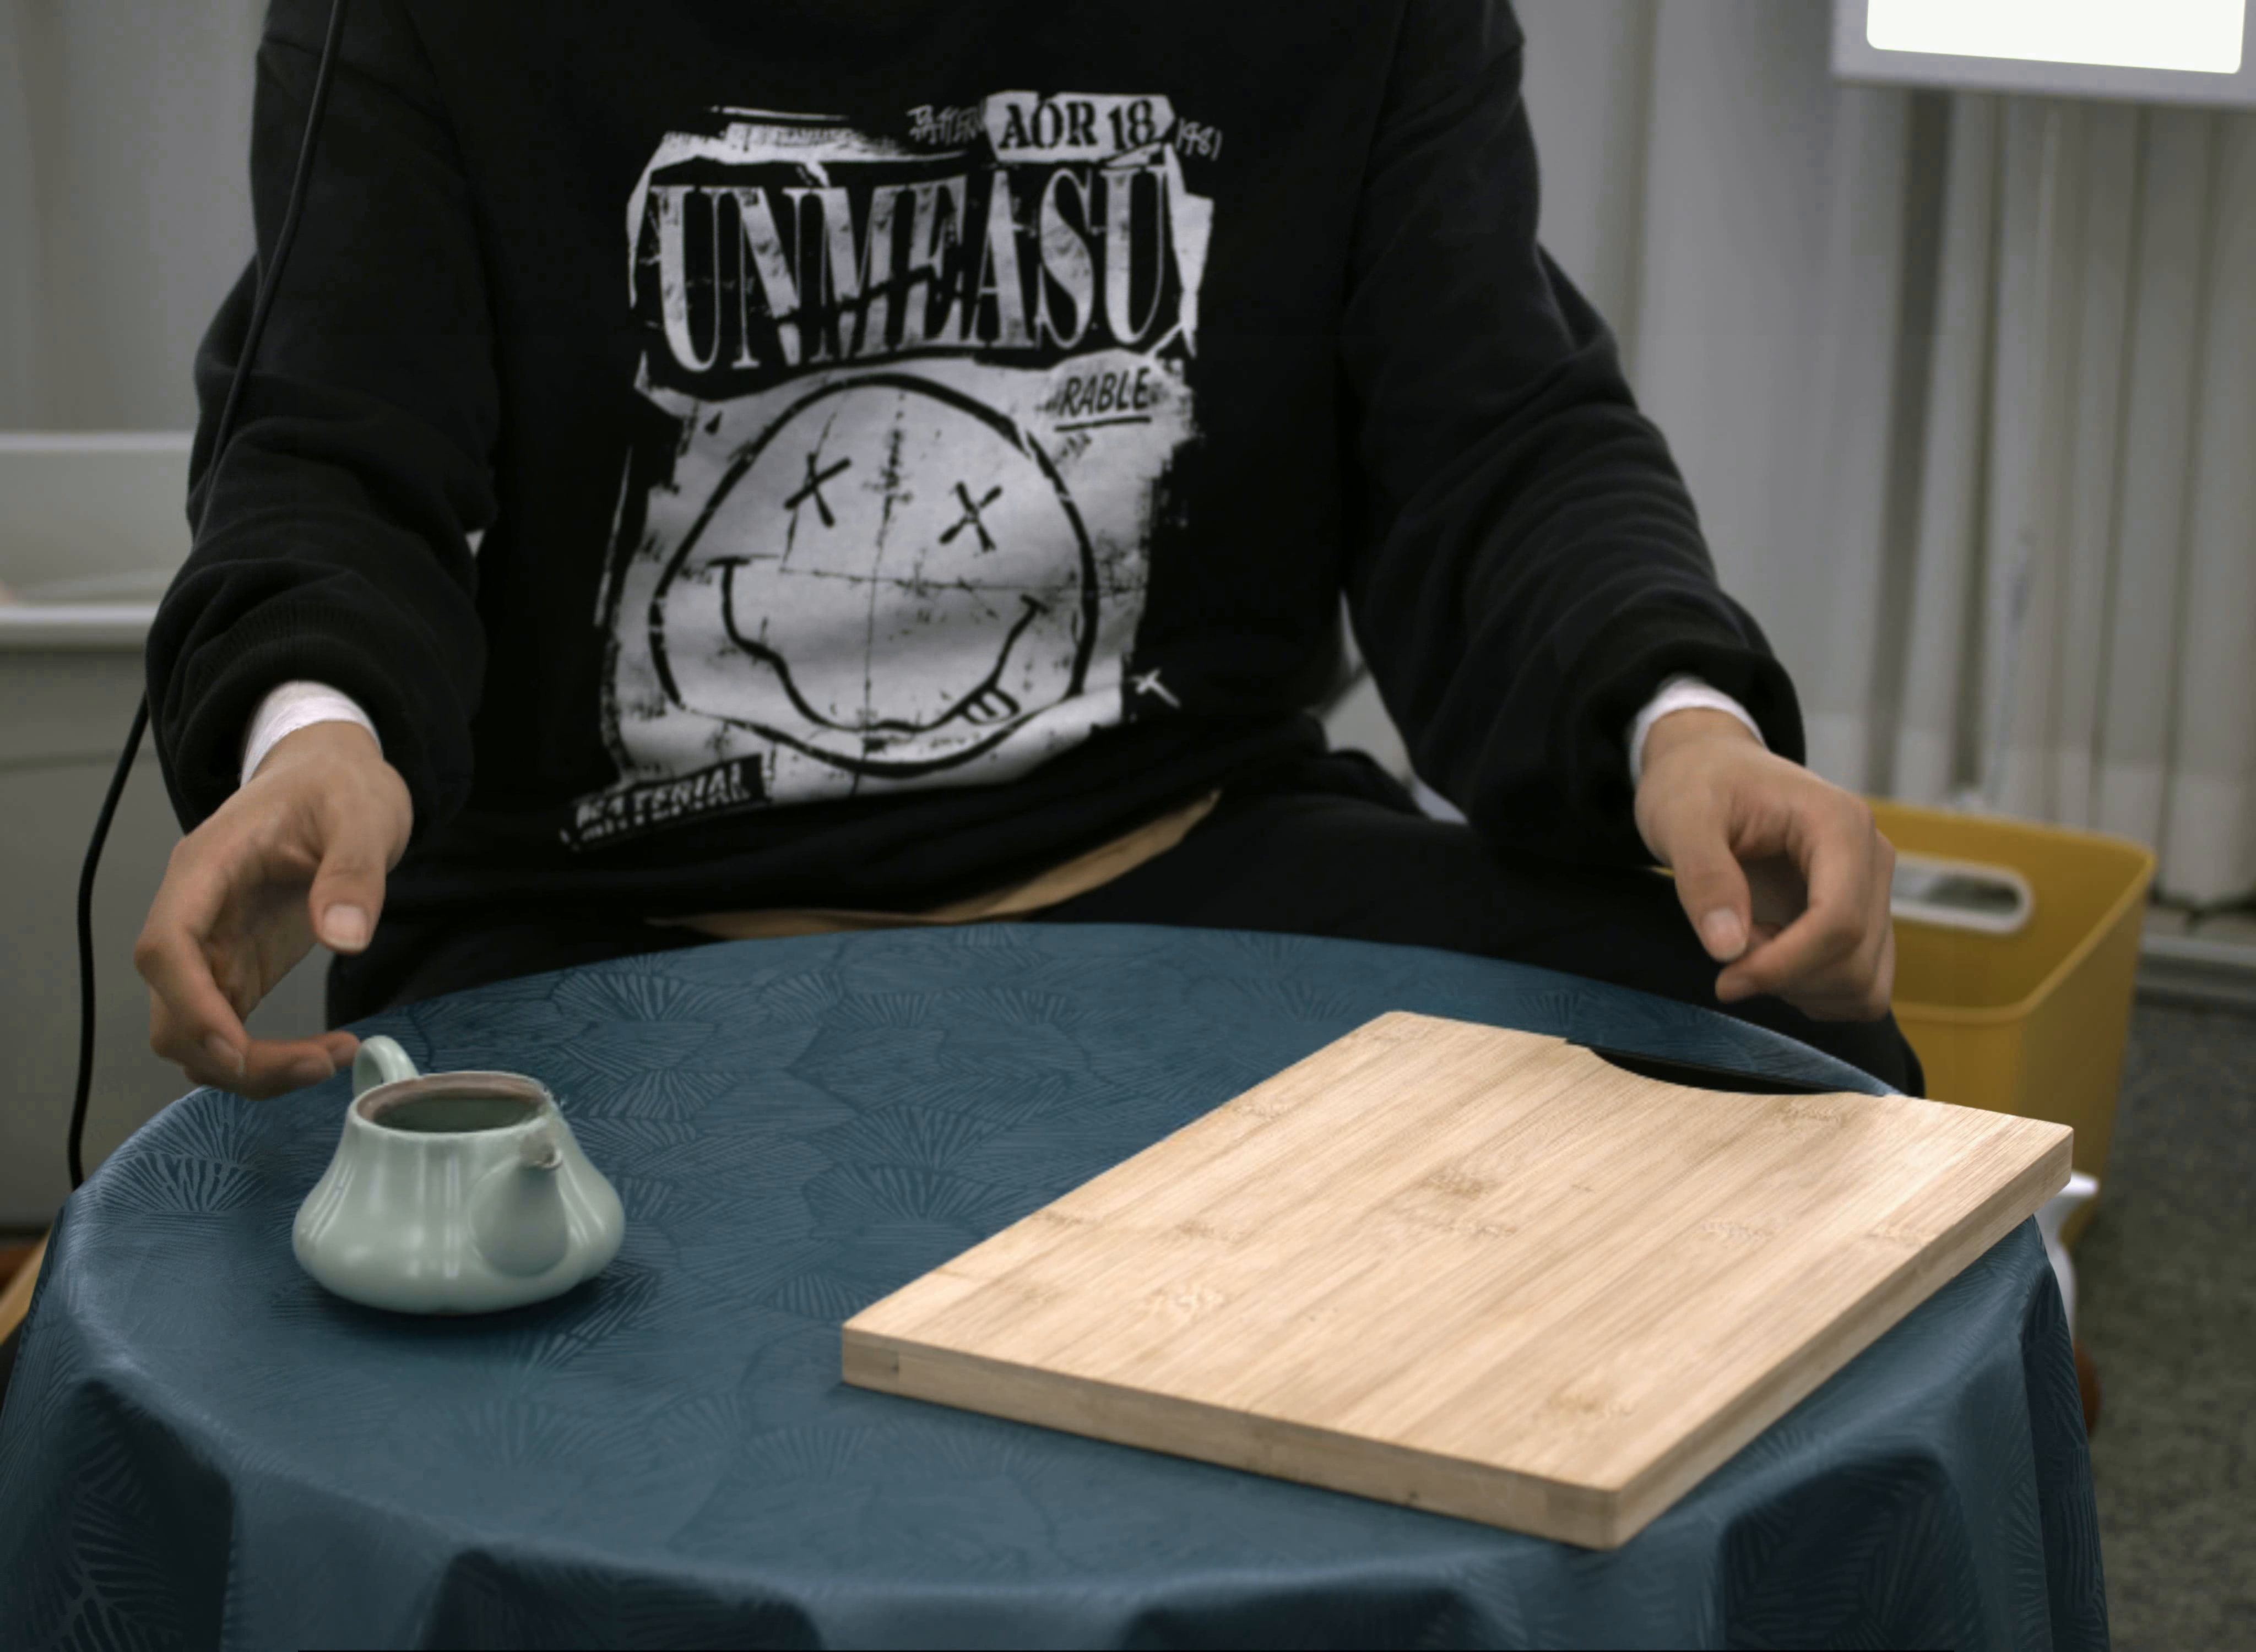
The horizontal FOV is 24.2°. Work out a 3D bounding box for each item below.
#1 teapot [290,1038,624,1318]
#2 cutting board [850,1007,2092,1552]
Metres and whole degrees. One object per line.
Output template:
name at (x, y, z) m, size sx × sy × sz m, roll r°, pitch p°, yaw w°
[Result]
teapot at (-0.198, 0.104, 1.532) m, size 0.096 × 0.062 × 0.135 m, roll -11°, pitch 20°, yaw -32°
cutting board at (0.110, 0.124, 1.555) m, size 0.248 × 0.024 × 0.349 m, roll 9°, pitch 18°, yaw 27°
